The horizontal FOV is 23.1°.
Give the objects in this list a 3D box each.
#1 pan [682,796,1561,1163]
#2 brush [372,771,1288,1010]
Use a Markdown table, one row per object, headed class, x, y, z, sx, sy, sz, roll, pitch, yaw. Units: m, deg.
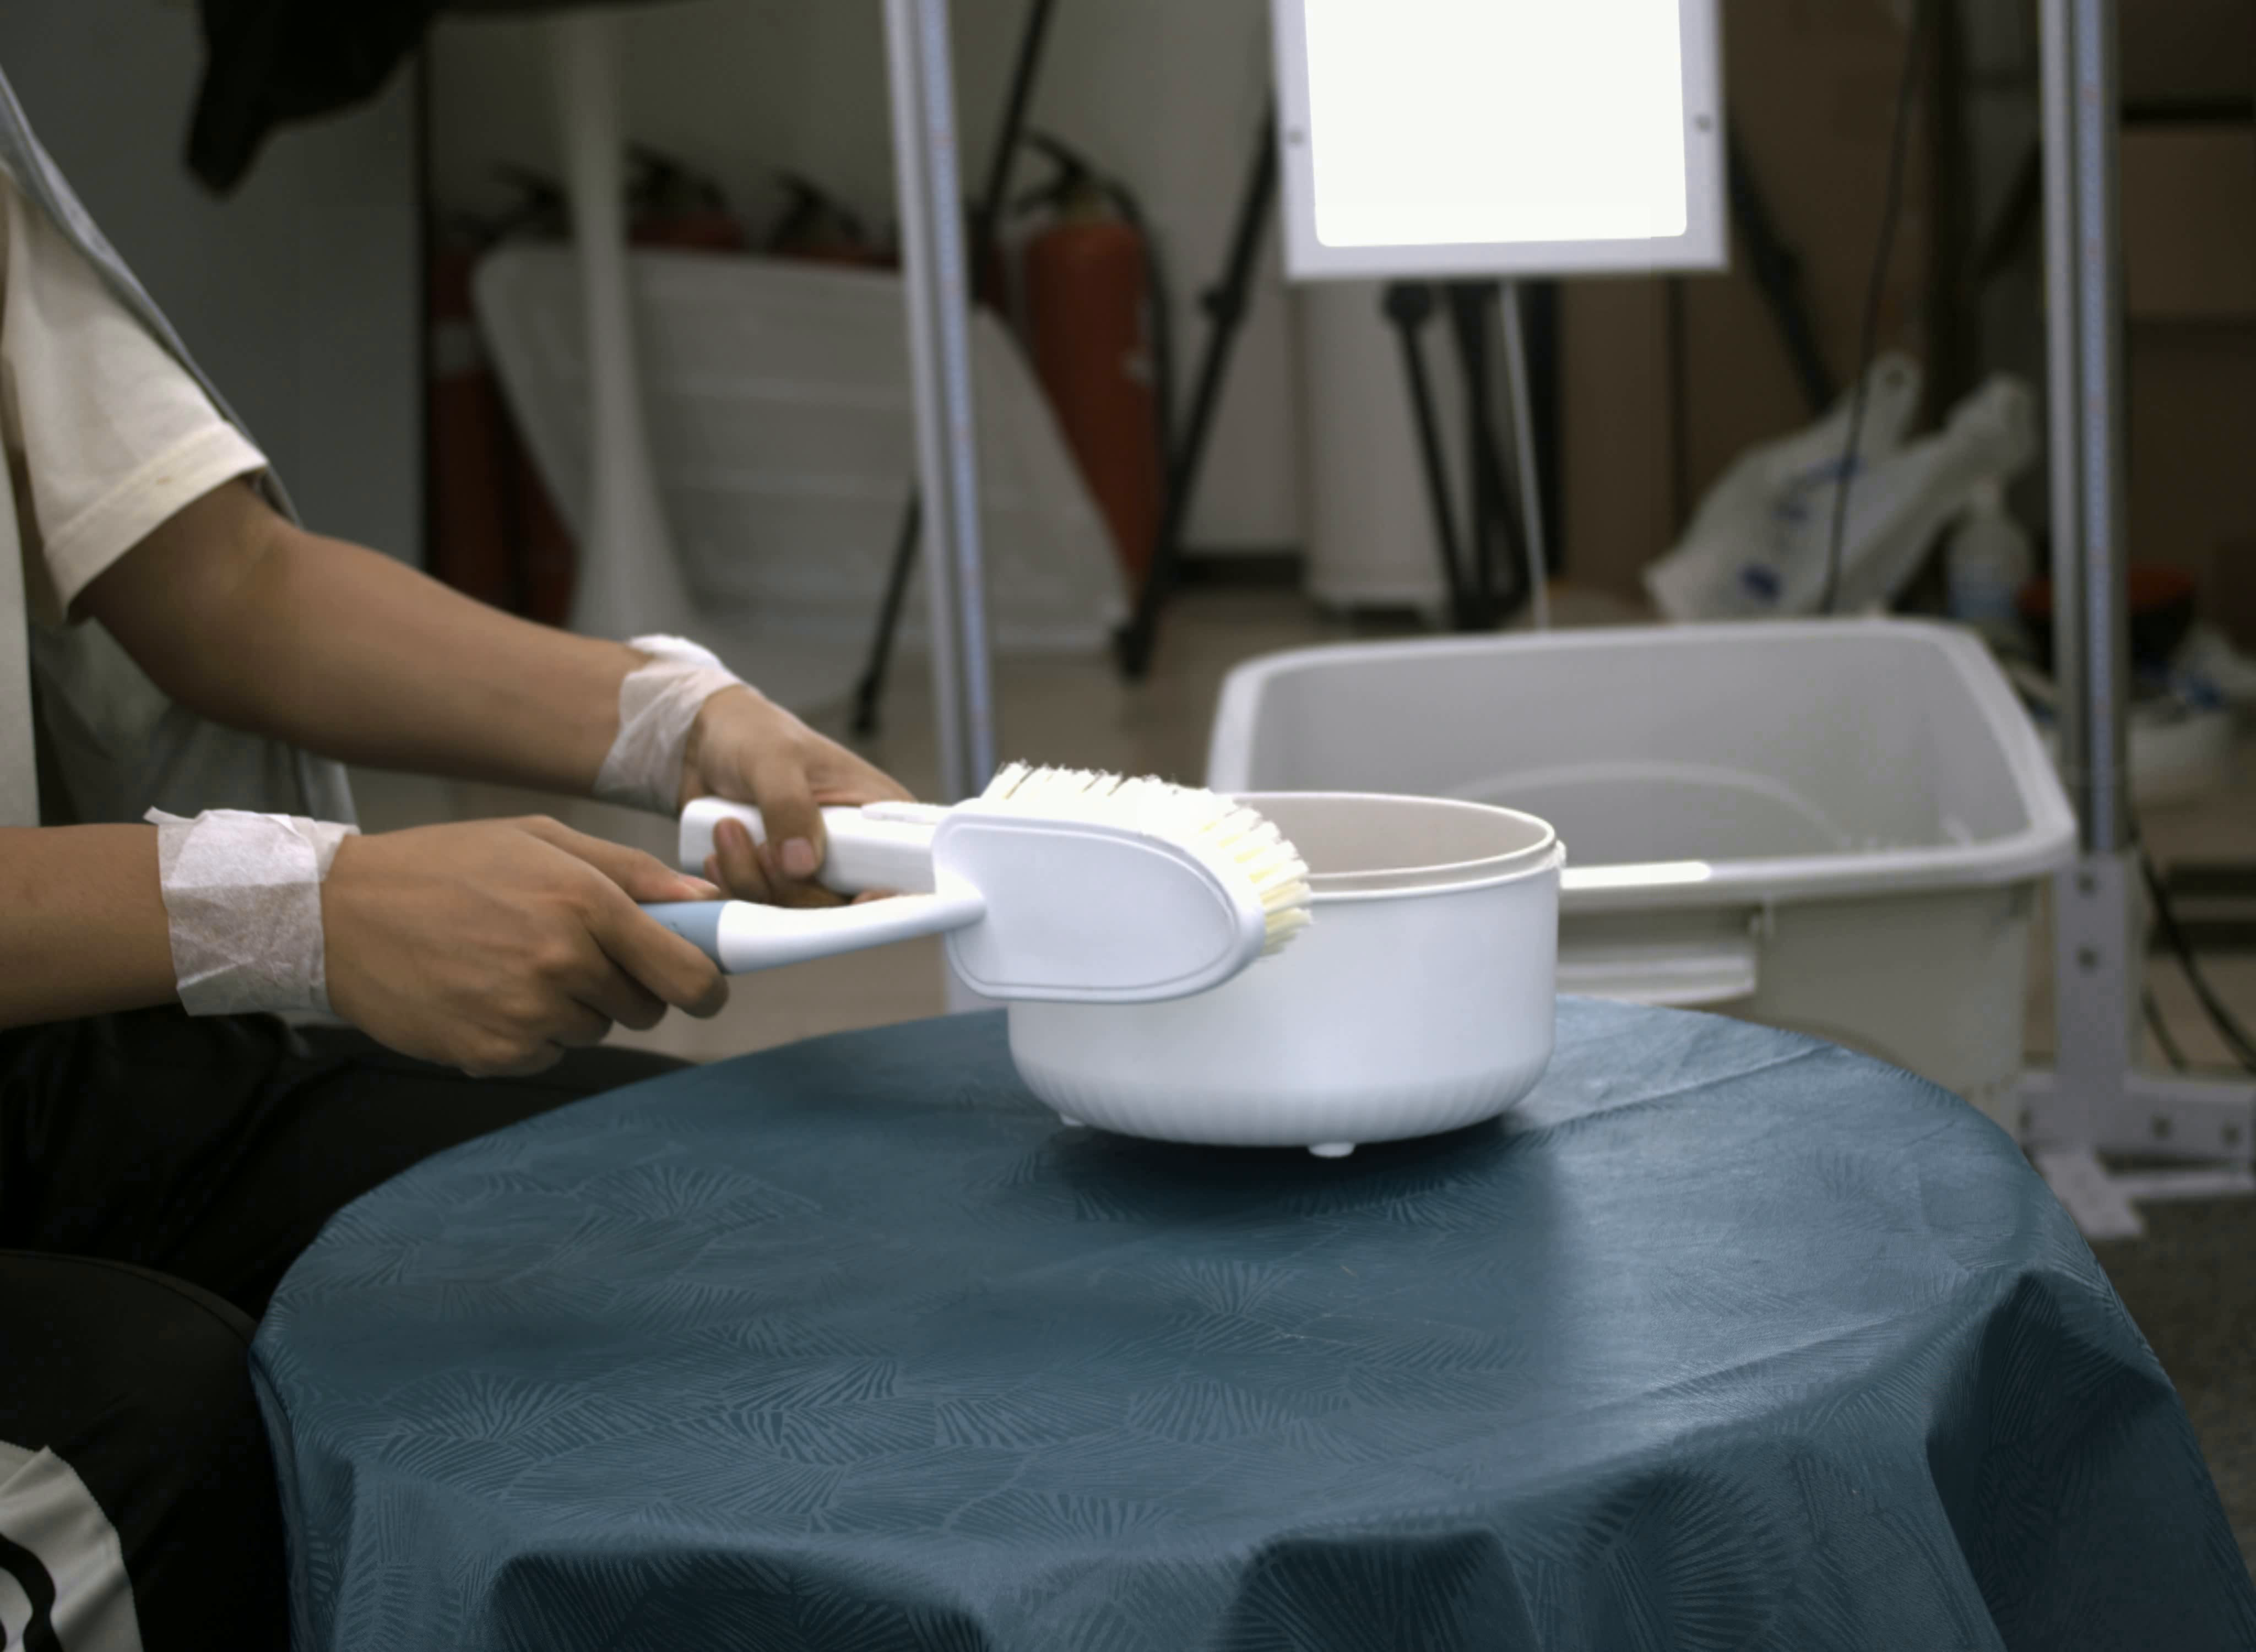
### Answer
| class | x | y | z | sx | sy | sz | roll | pitch | yaw |
| --- | --- | --- | --- | --- | --- | --- | --- | --- | --- |
| pan | -0.011 | 0.049 | 1.986 | 0.362 | 0.102 | 0.196 | 4 | 11 | 34 |
| brush | -0.097 | 0.022 | 1.830 | 0.330 | 0.083 | 0.083 | -2 | -21 | 24 |
